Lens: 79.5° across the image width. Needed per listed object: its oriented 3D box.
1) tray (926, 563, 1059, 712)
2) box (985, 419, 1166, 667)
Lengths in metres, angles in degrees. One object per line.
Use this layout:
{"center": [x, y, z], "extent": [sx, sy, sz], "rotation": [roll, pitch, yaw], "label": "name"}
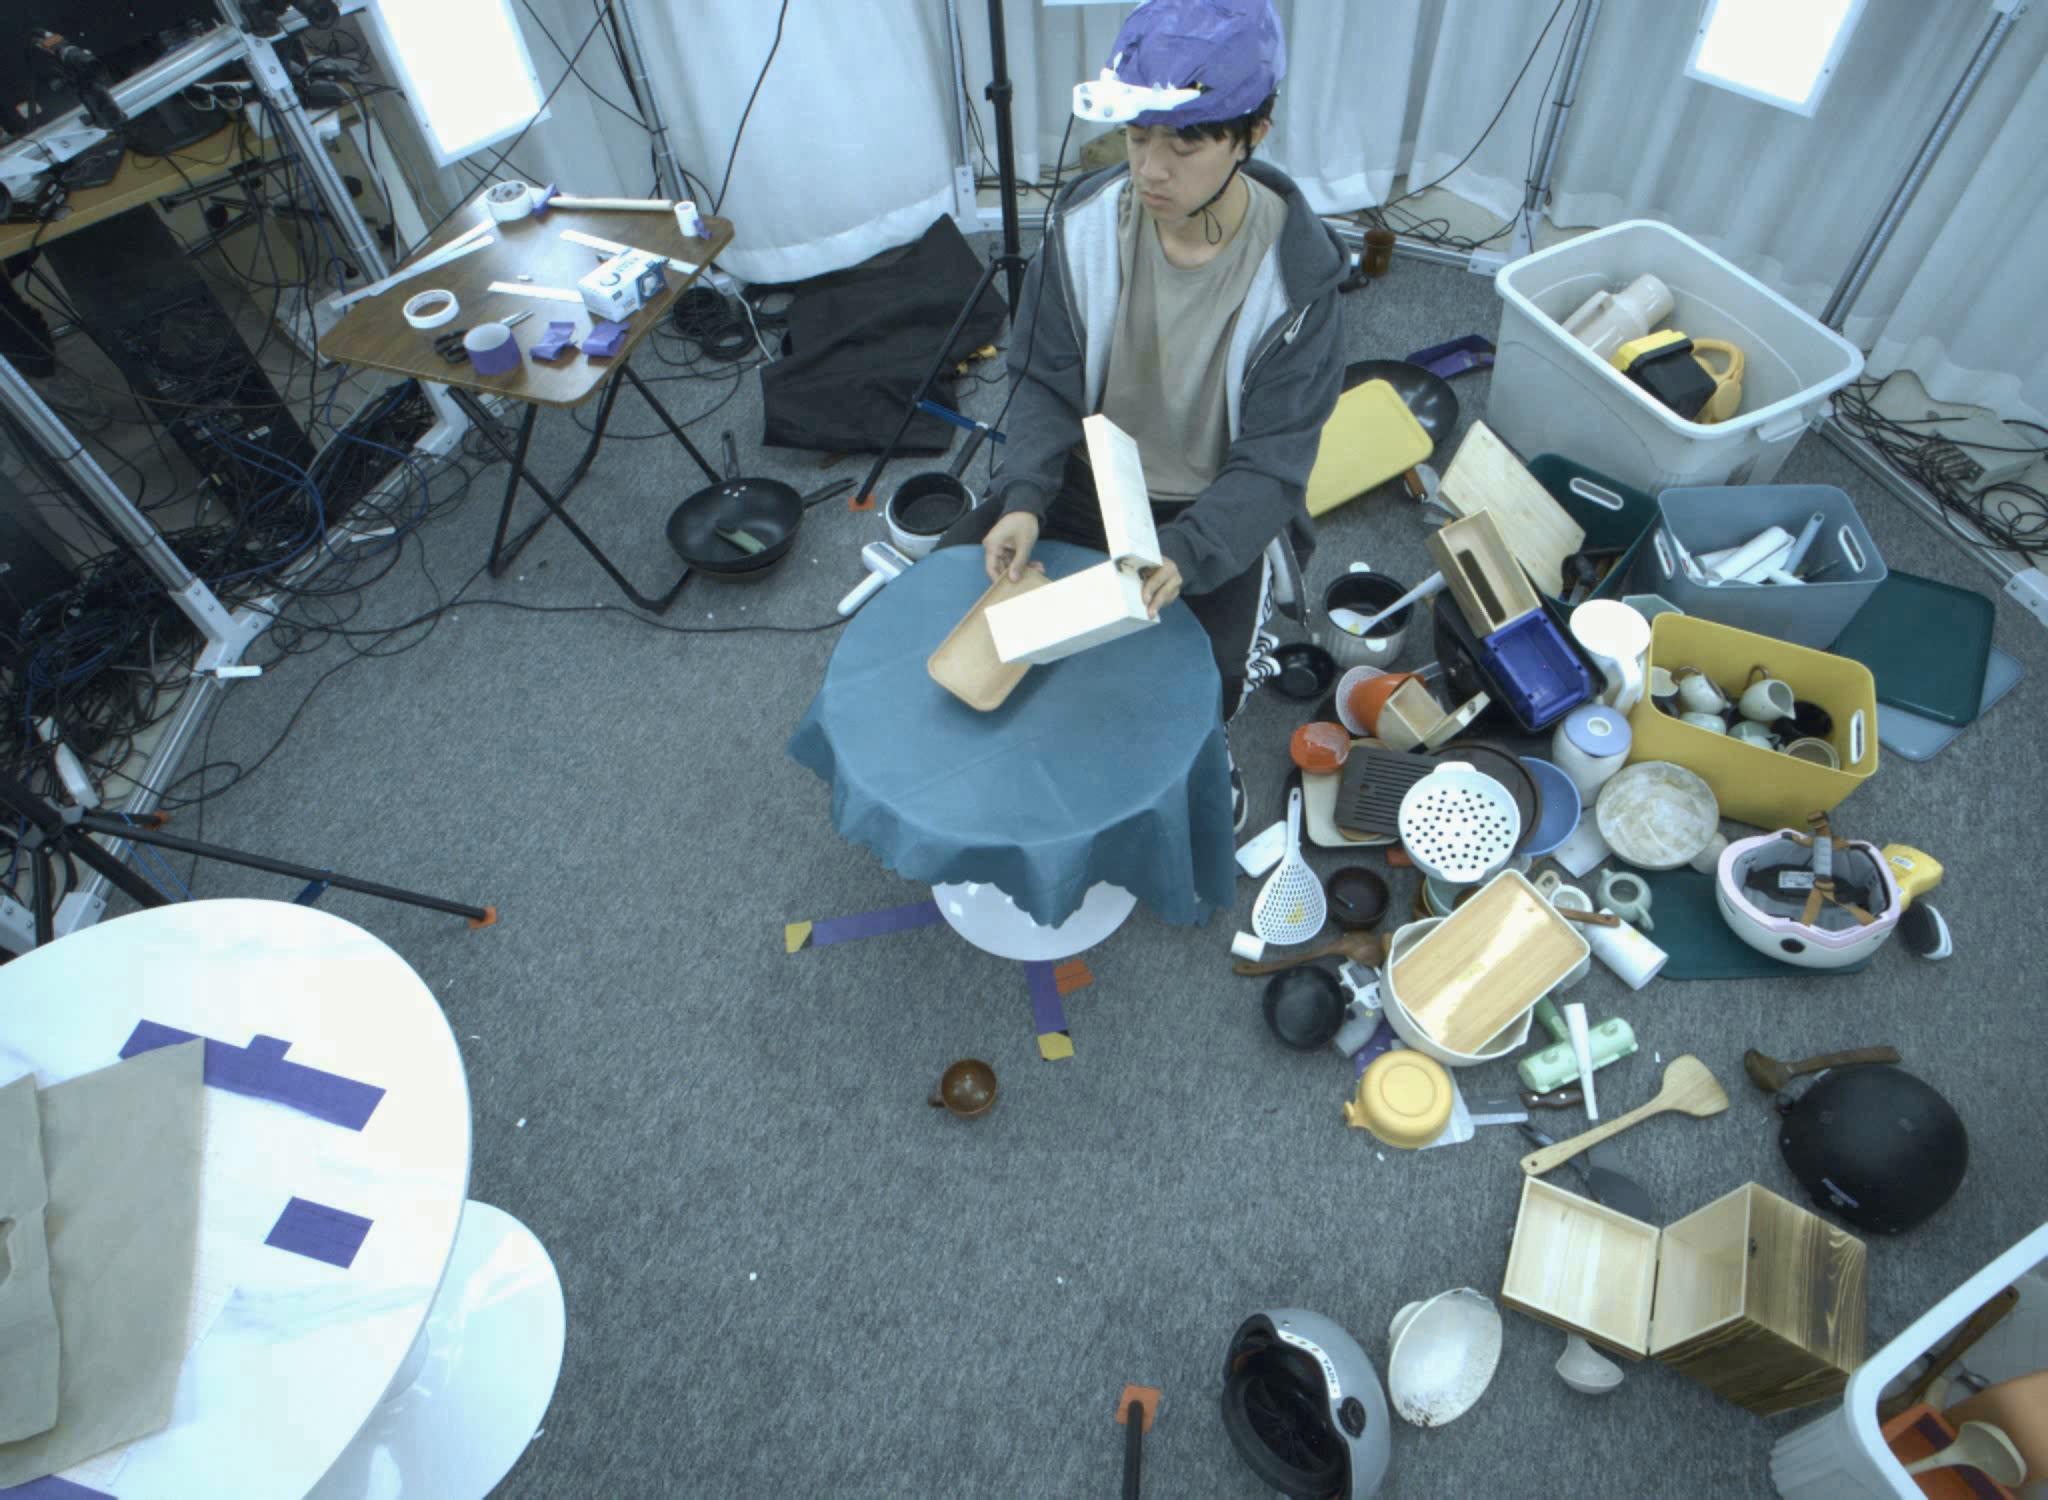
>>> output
{"center": [-0.034, -0.171, 1.847], "extent": [0.130, 0.023, 0.251], "rotation": [37, 65, 3], "label": "tray"}
{"center": [0.075, -0.270, 1.642], "extent": [0.263, 0.184, 0.253], "rotation": [-17, 87, 17], "label": "box"}
